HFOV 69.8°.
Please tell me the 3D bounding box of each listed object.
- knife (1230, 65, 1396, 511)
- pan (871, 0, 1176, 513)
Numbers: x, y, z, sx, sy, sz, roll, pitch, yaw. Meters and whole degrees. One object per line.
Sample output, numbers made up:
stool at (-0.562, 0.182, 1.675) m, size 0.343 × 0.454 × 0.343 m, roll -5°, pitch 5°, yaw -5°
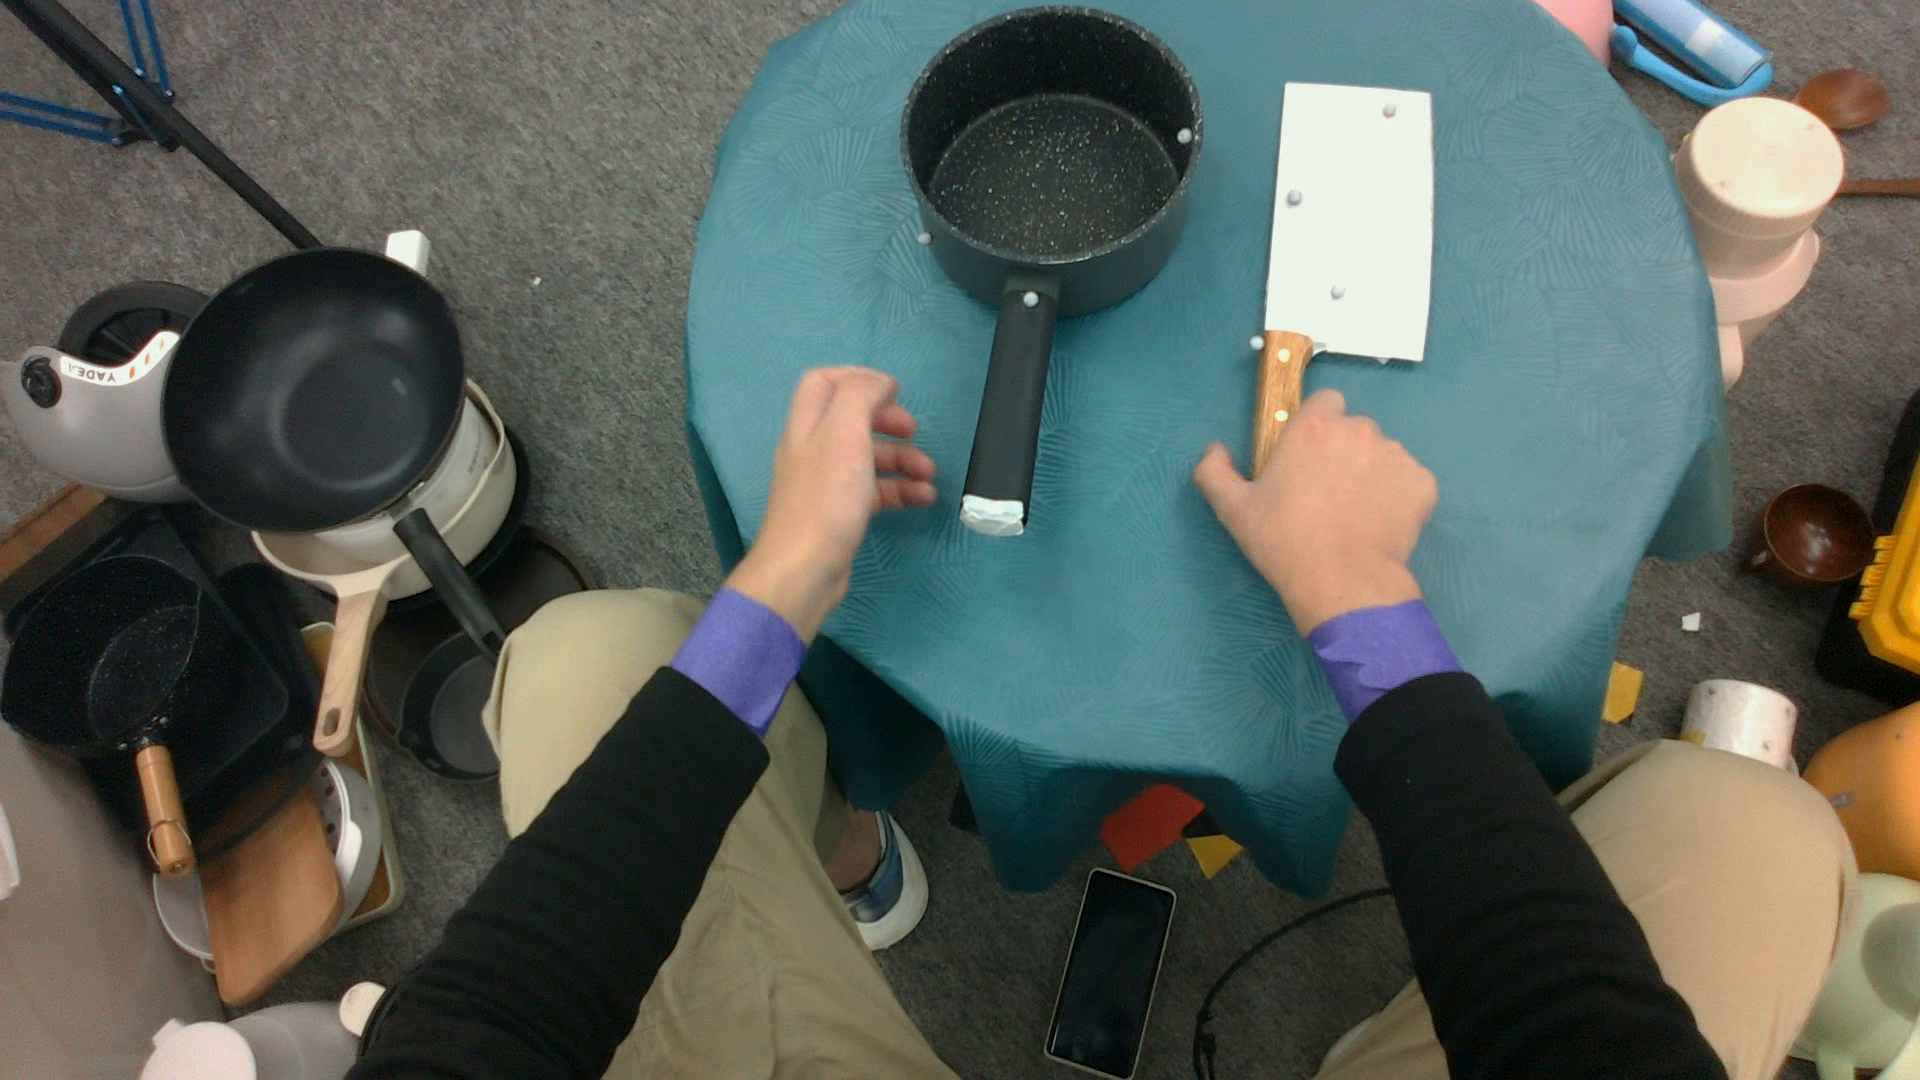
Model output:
knife at (0.207, -0.155, 0.802) m, size 0.093 × 0.021 × 0.307 m, roll 6°, pitch 68°, yaw 5°
pan at (0.025, -0.158, 0.782) m, size 0.172 × 0.086 × 0.330 m, roll 8°, pitch 70°, yaw 7°
